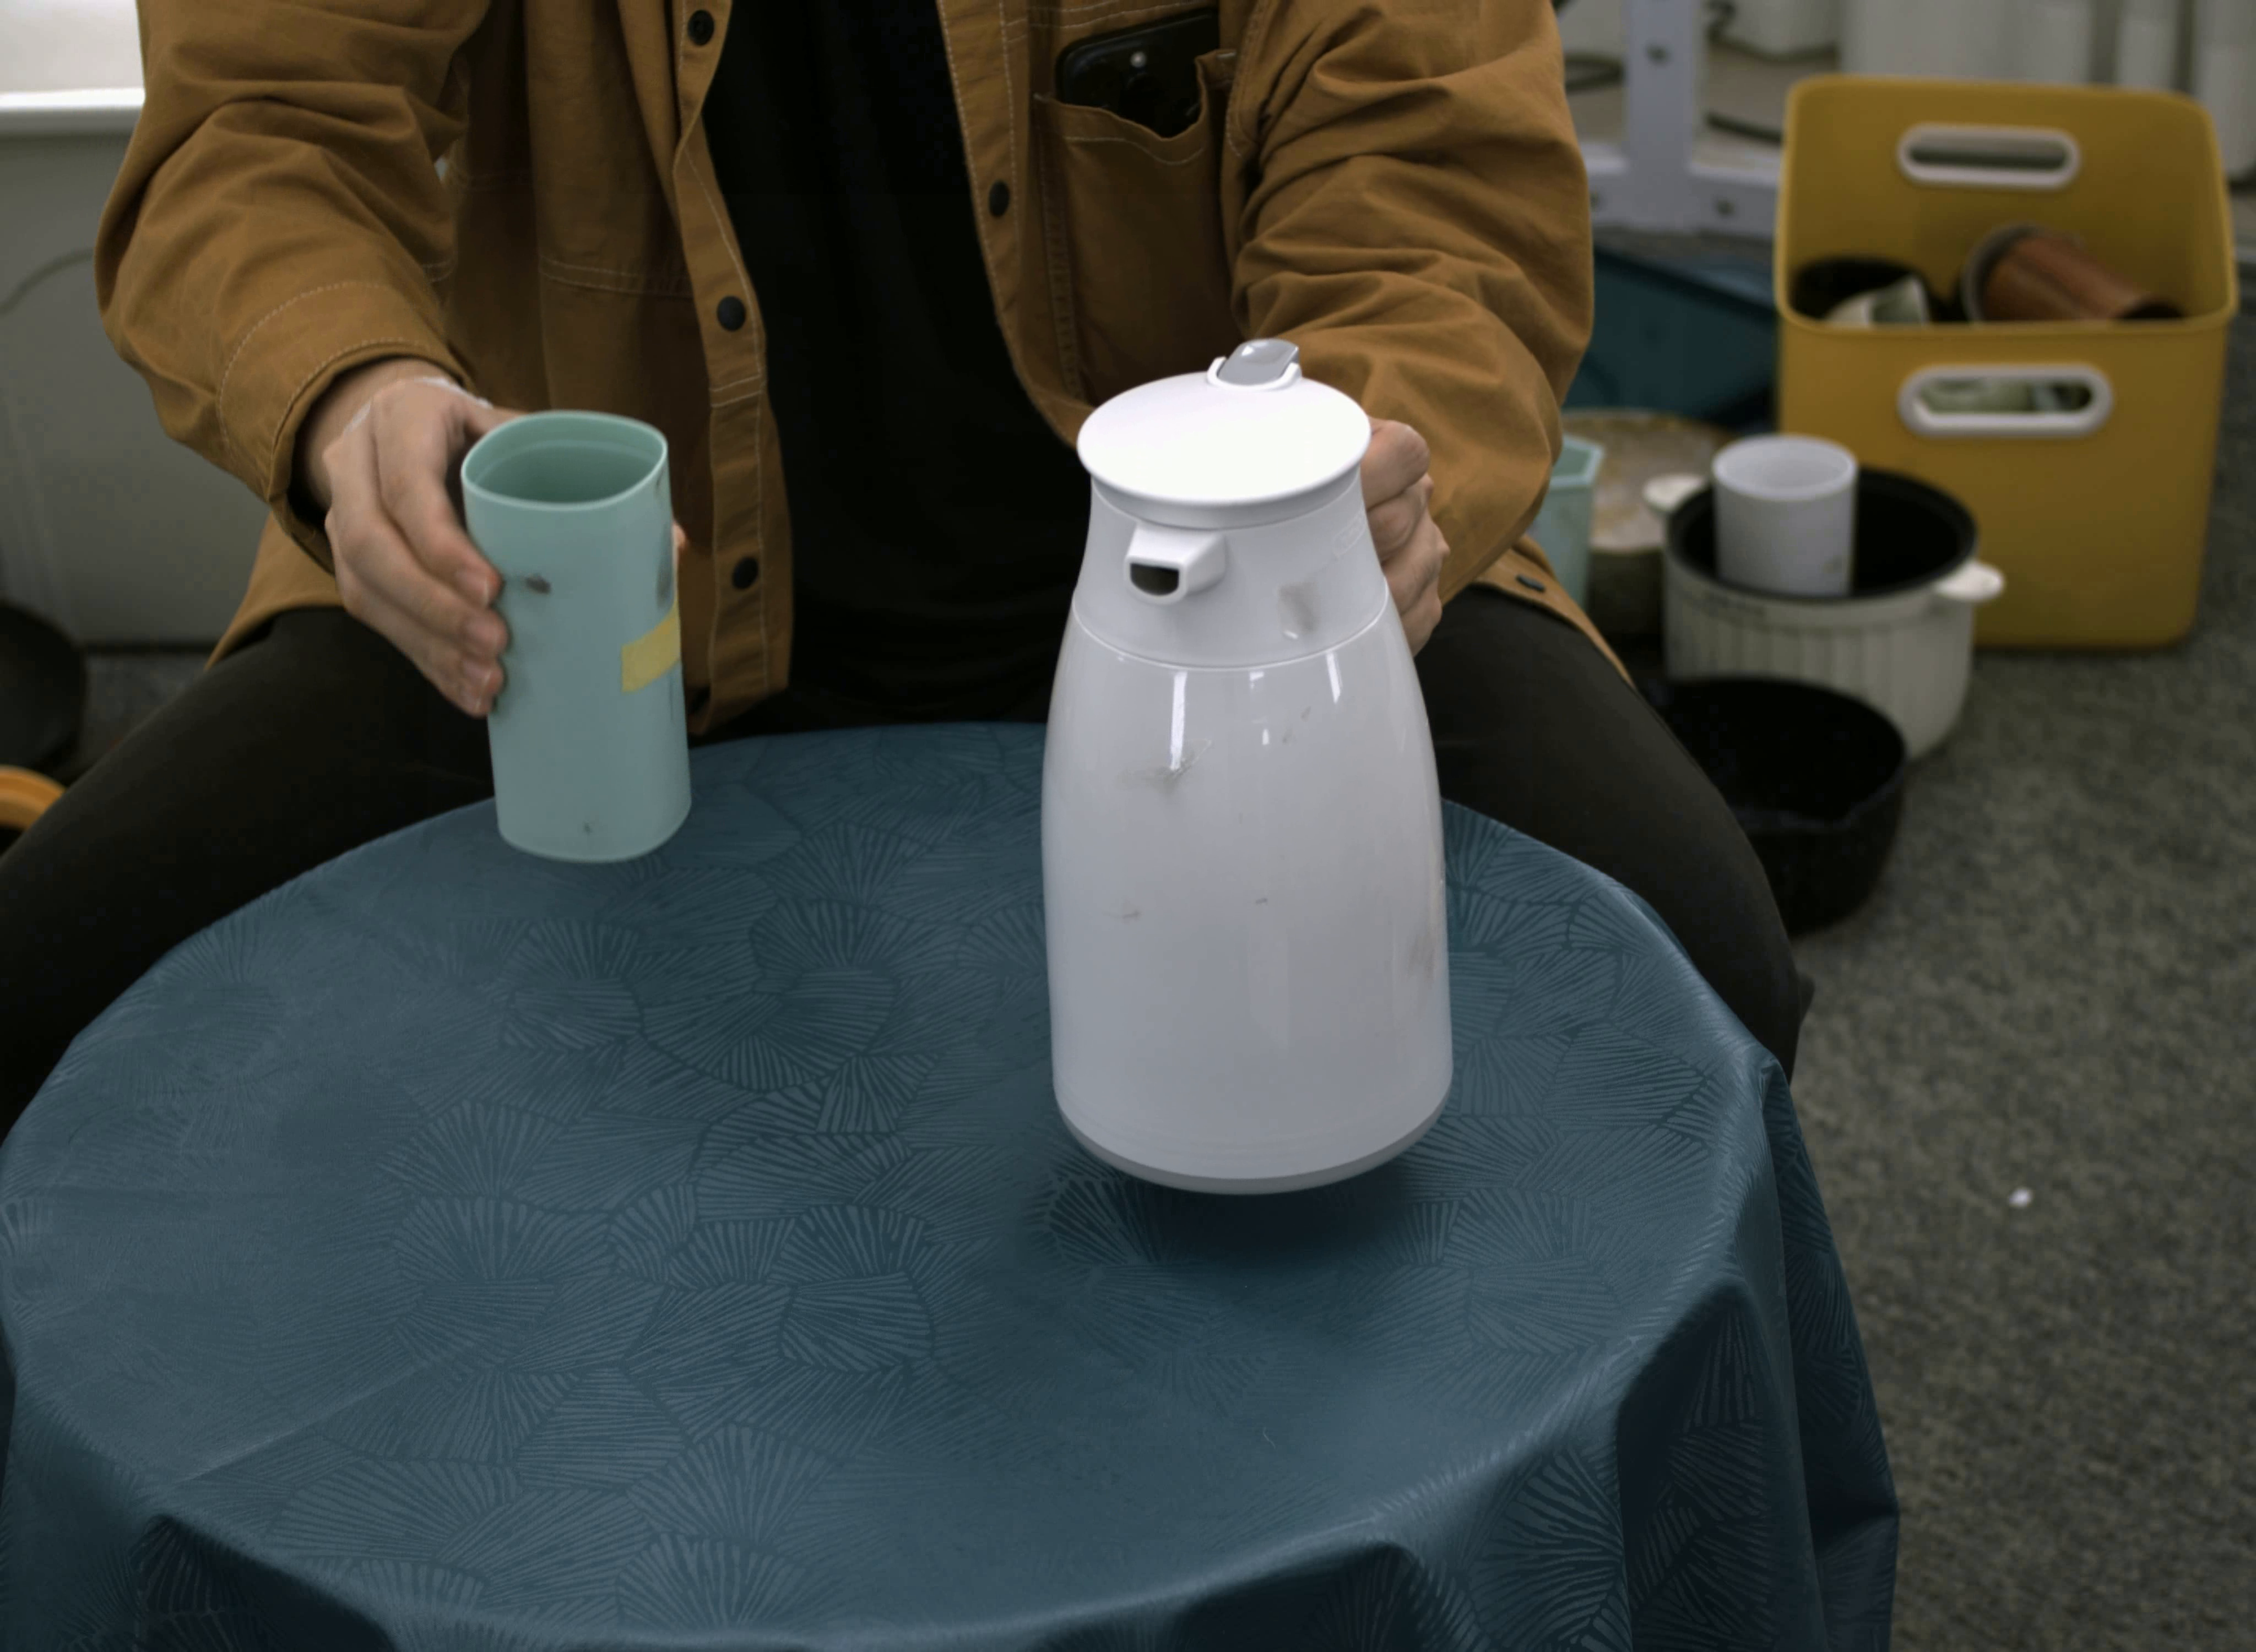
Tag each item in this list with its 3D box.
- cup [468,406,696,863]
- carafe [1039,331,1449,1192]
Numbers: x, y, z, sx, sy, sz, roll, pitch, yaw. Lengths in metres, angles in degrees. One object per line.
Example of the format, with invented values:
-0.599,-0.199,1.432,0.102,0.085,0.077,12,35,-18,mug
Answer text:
-0.174,-0.061,1.794,0.066,0.131,0.068,-1,29,1,cup
0.040,-0.032,1.811,0.131,0.246,0.170,7,29,19,carafe
